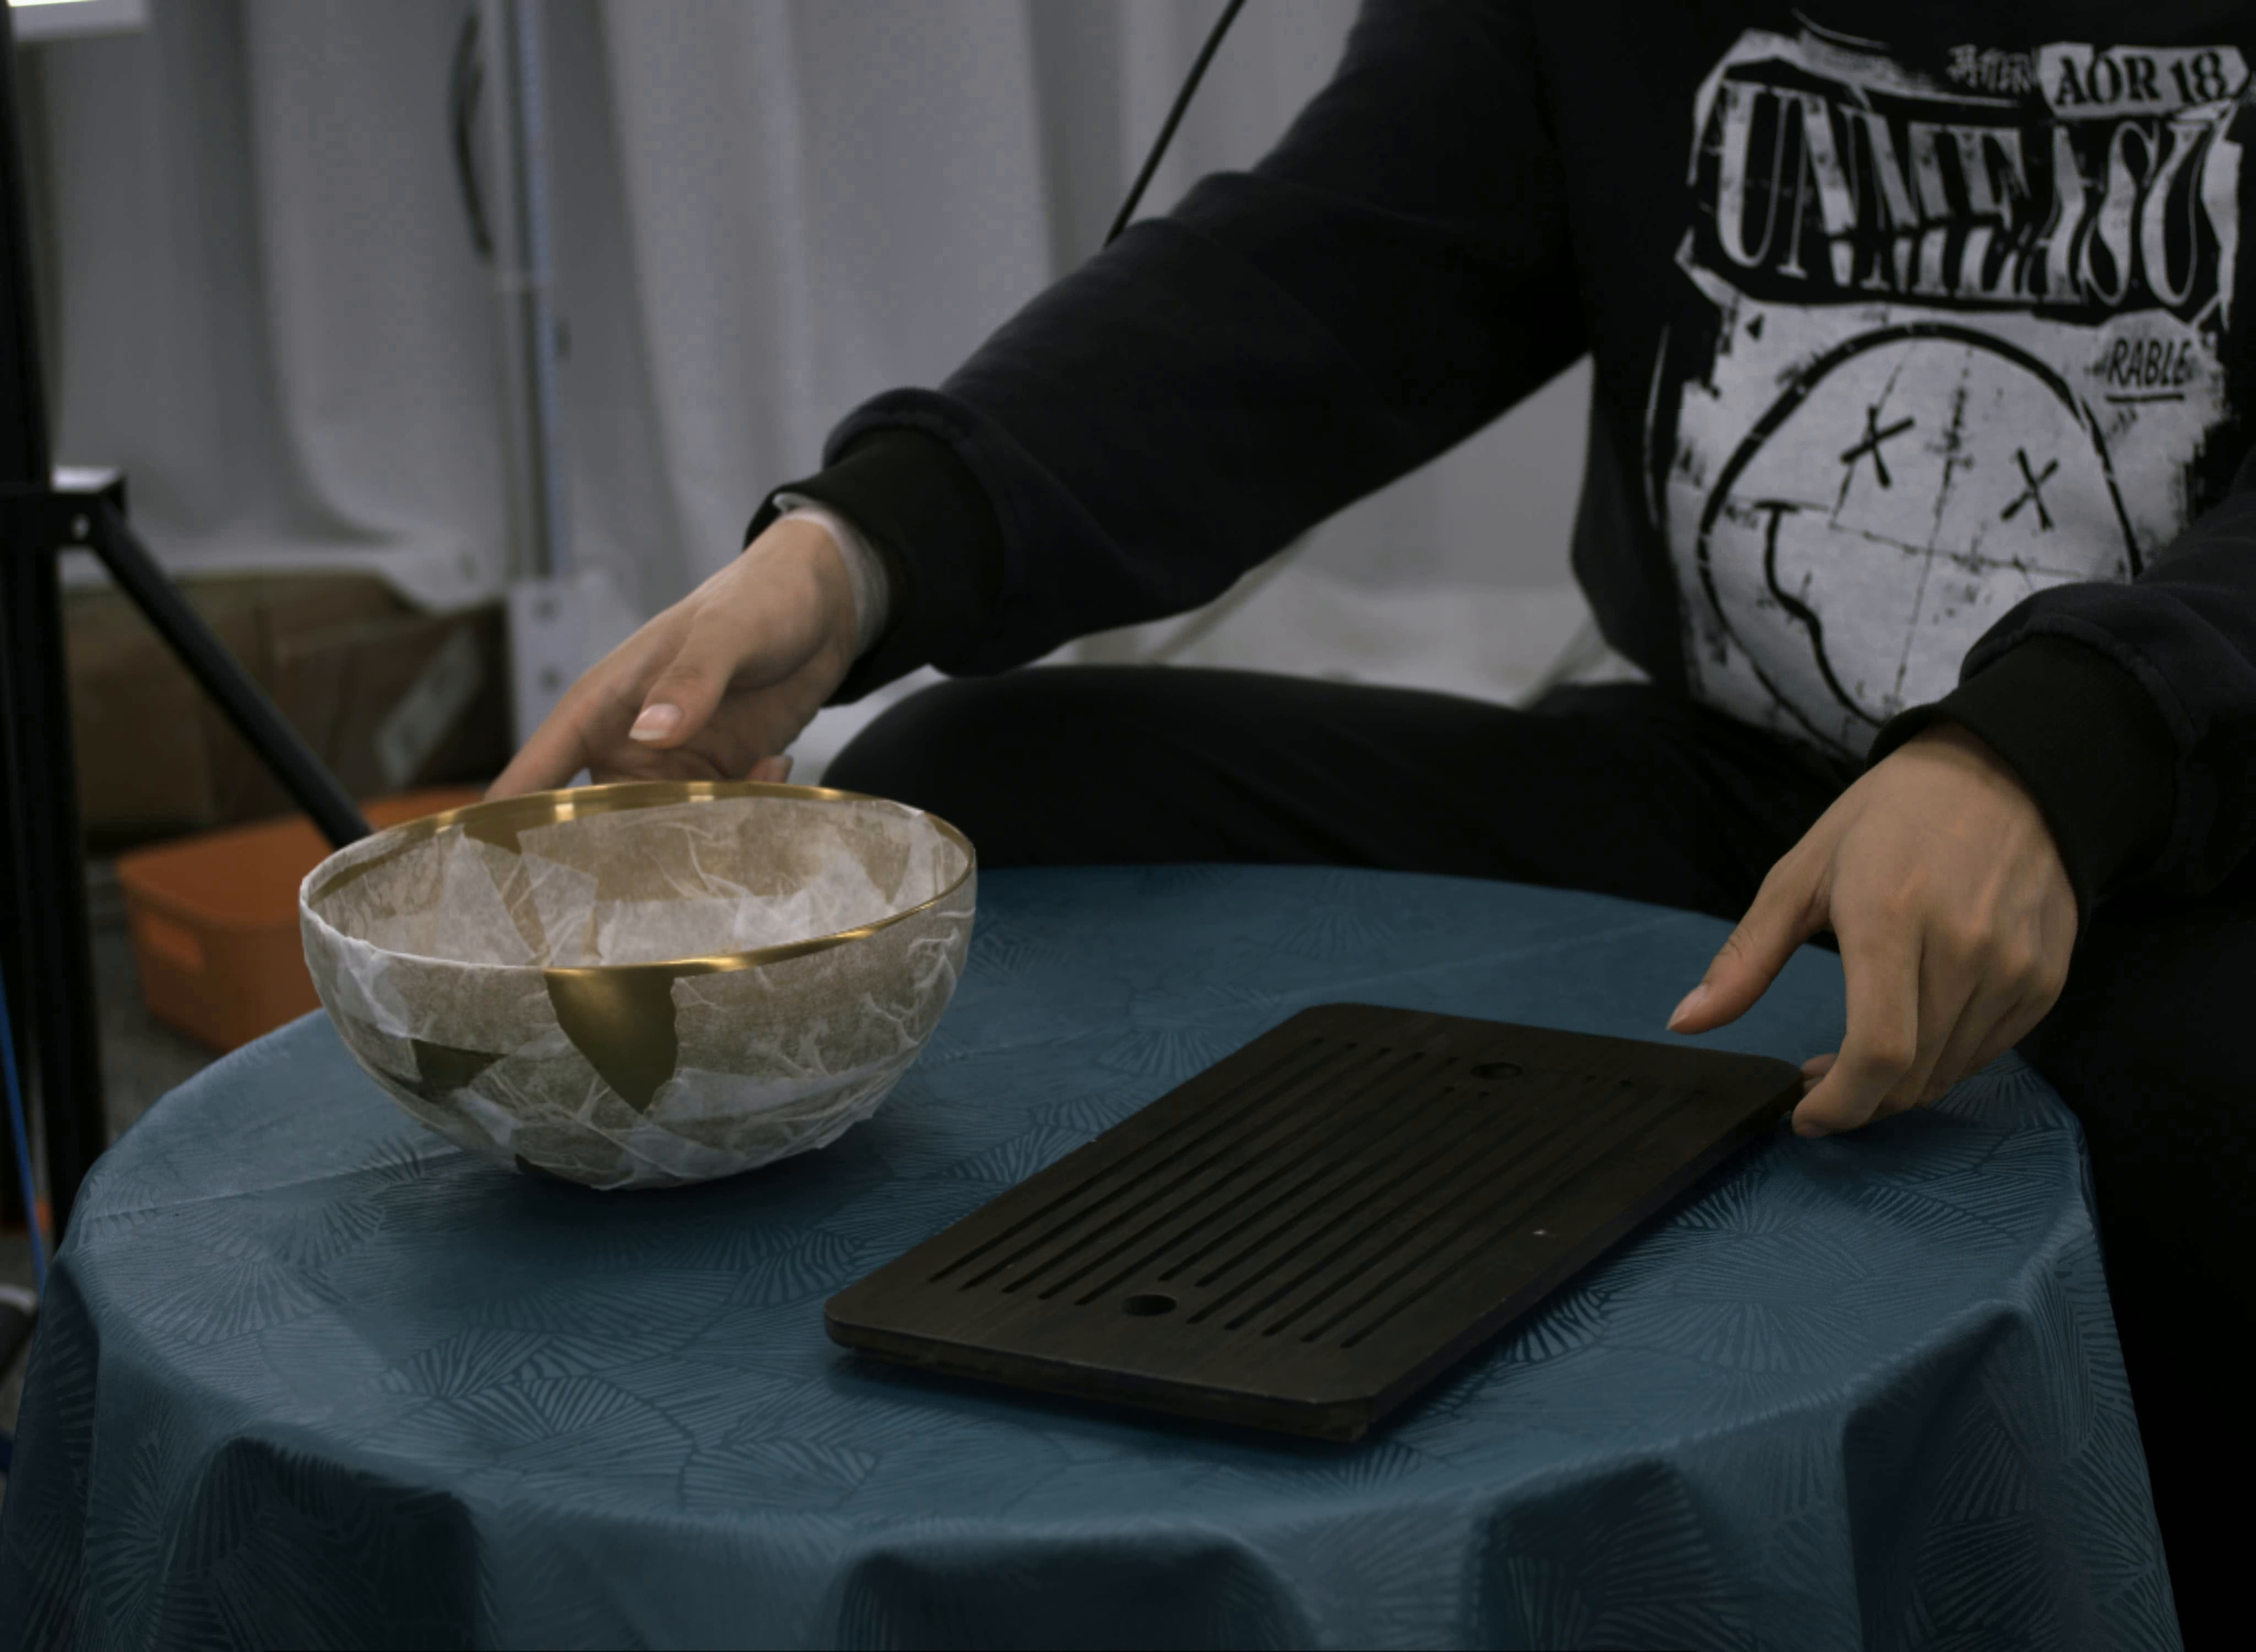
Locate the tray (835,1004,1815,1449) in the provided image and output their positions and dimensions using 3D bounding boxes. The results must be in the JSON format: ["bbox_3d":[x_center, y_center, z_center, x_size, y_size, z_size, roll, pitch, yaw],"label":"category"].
[{"bbox_3d":[0.064,0.110,1.508,0.173,0.018,0.300,7,18,30],"label":"tray"}]

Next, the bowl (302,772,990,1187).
[{"bbox_3d":[-0.140,0.055,1.601,0.213,0.094,0.216,-3,15,-1],"label":"bowl"}]
